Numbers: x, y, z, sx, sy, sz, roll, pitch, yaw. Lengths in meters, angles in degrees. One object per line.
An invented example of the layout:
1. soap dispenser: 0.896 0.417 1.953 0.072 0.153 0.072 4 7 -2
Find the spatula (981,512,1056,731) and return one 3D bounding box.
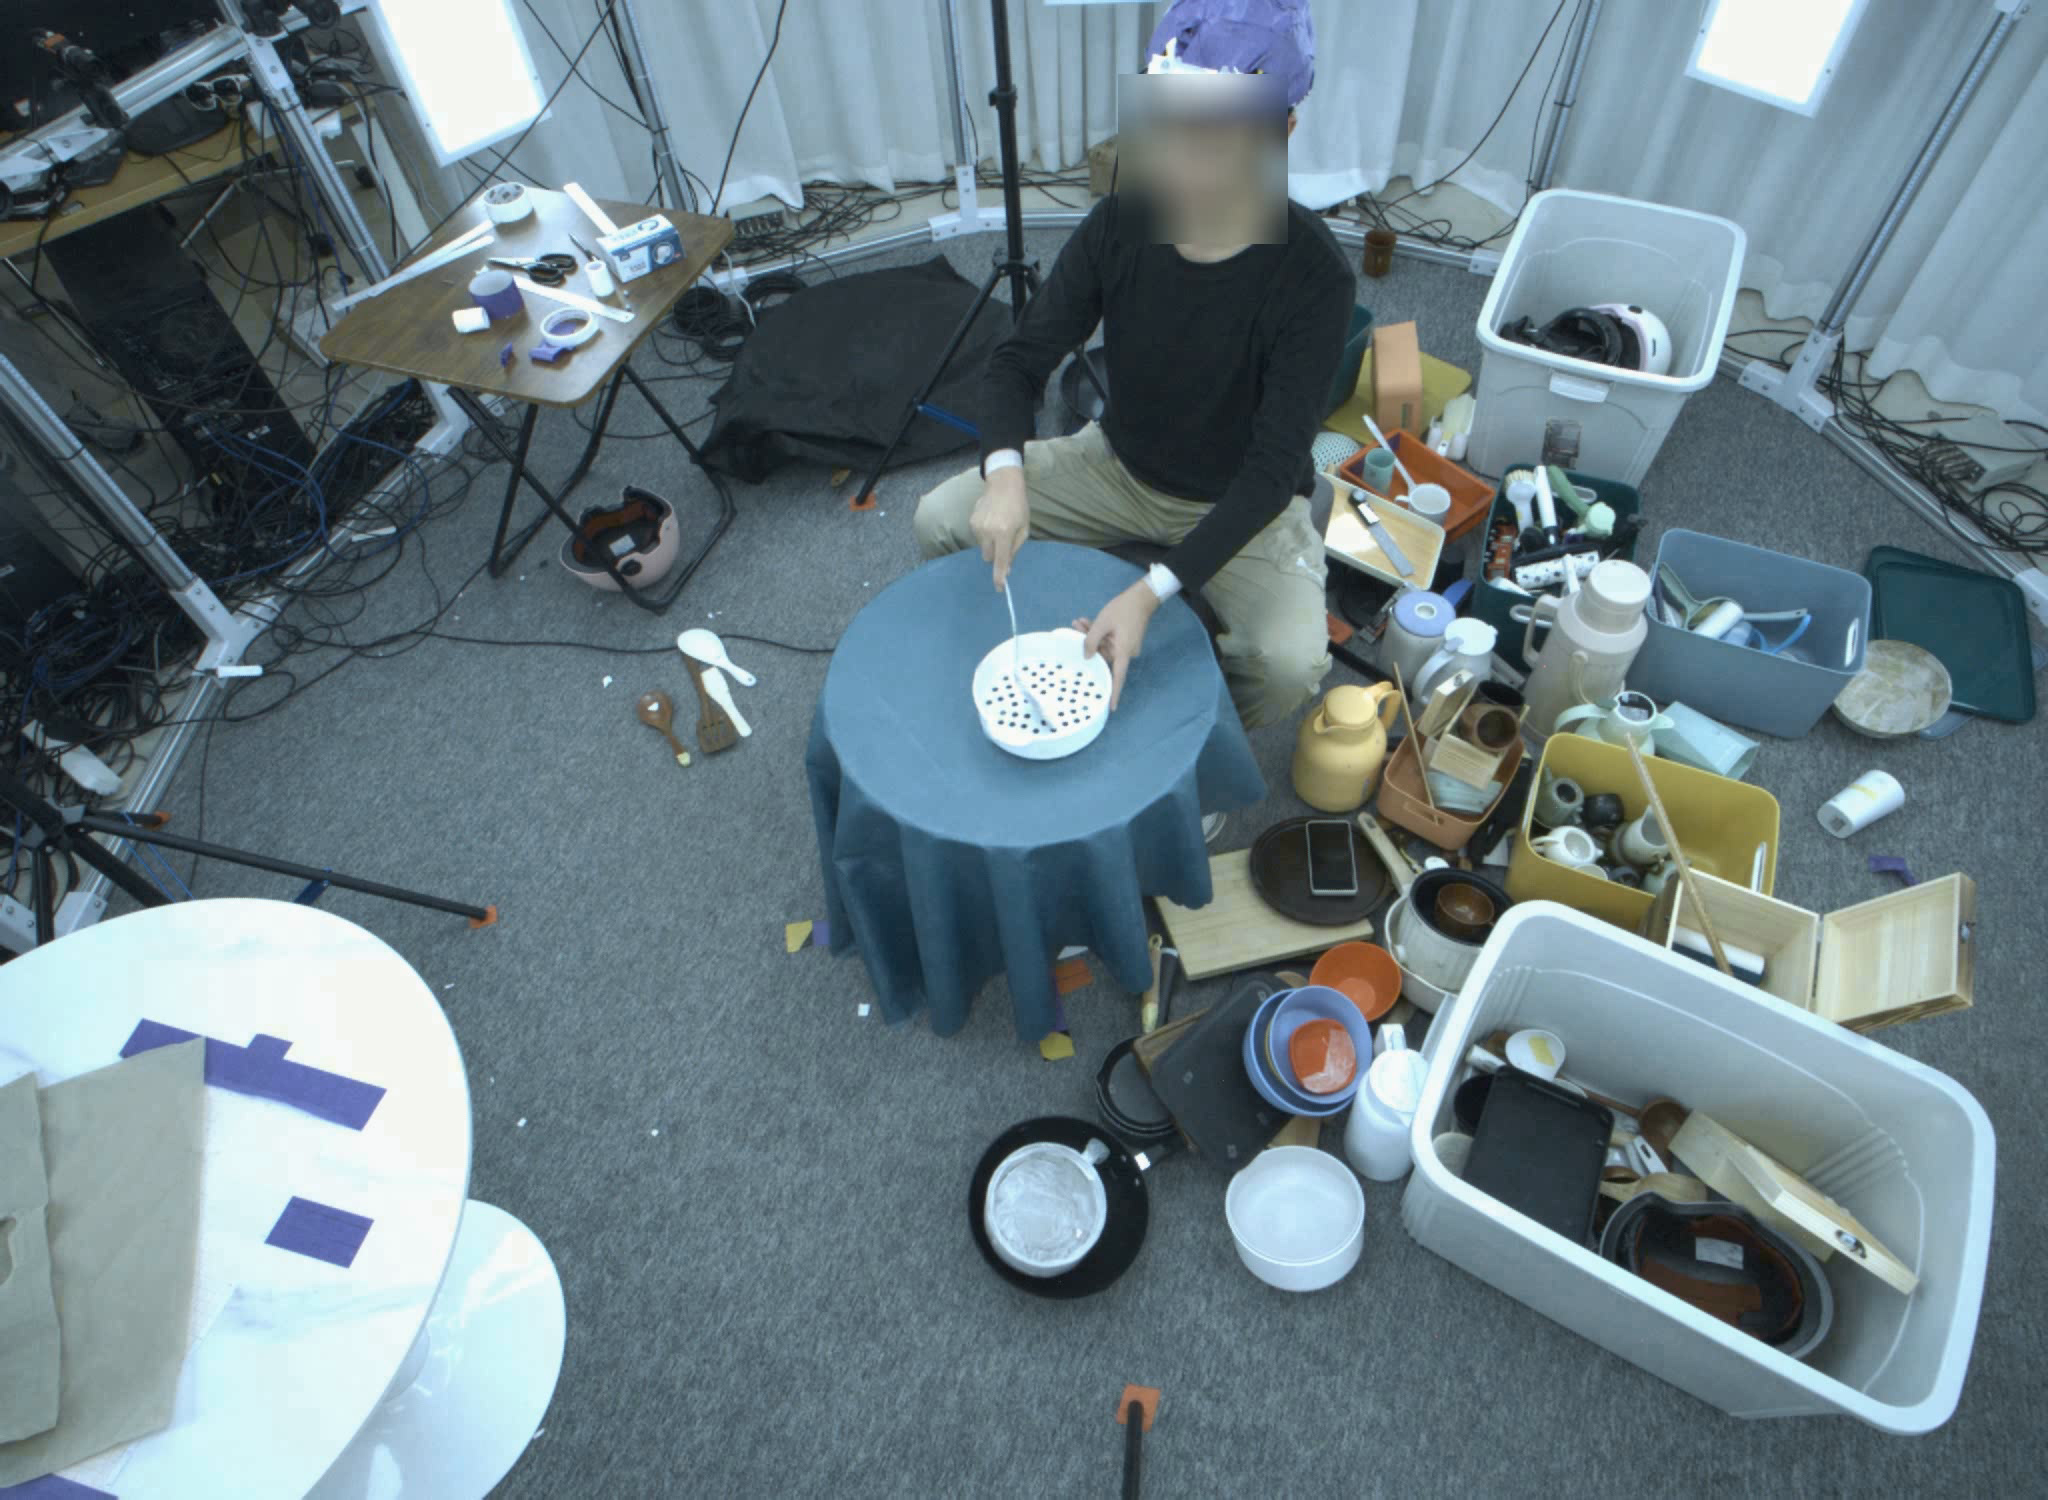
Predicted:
1. spatula: -0.014 -0.198 1.798 0.044 0.100 0.362 -13 76 9

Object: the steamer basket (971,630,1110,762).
1. steamer basket: 0.025 -0.075 1.797 0.199 0.070 0.231 24 58 16
